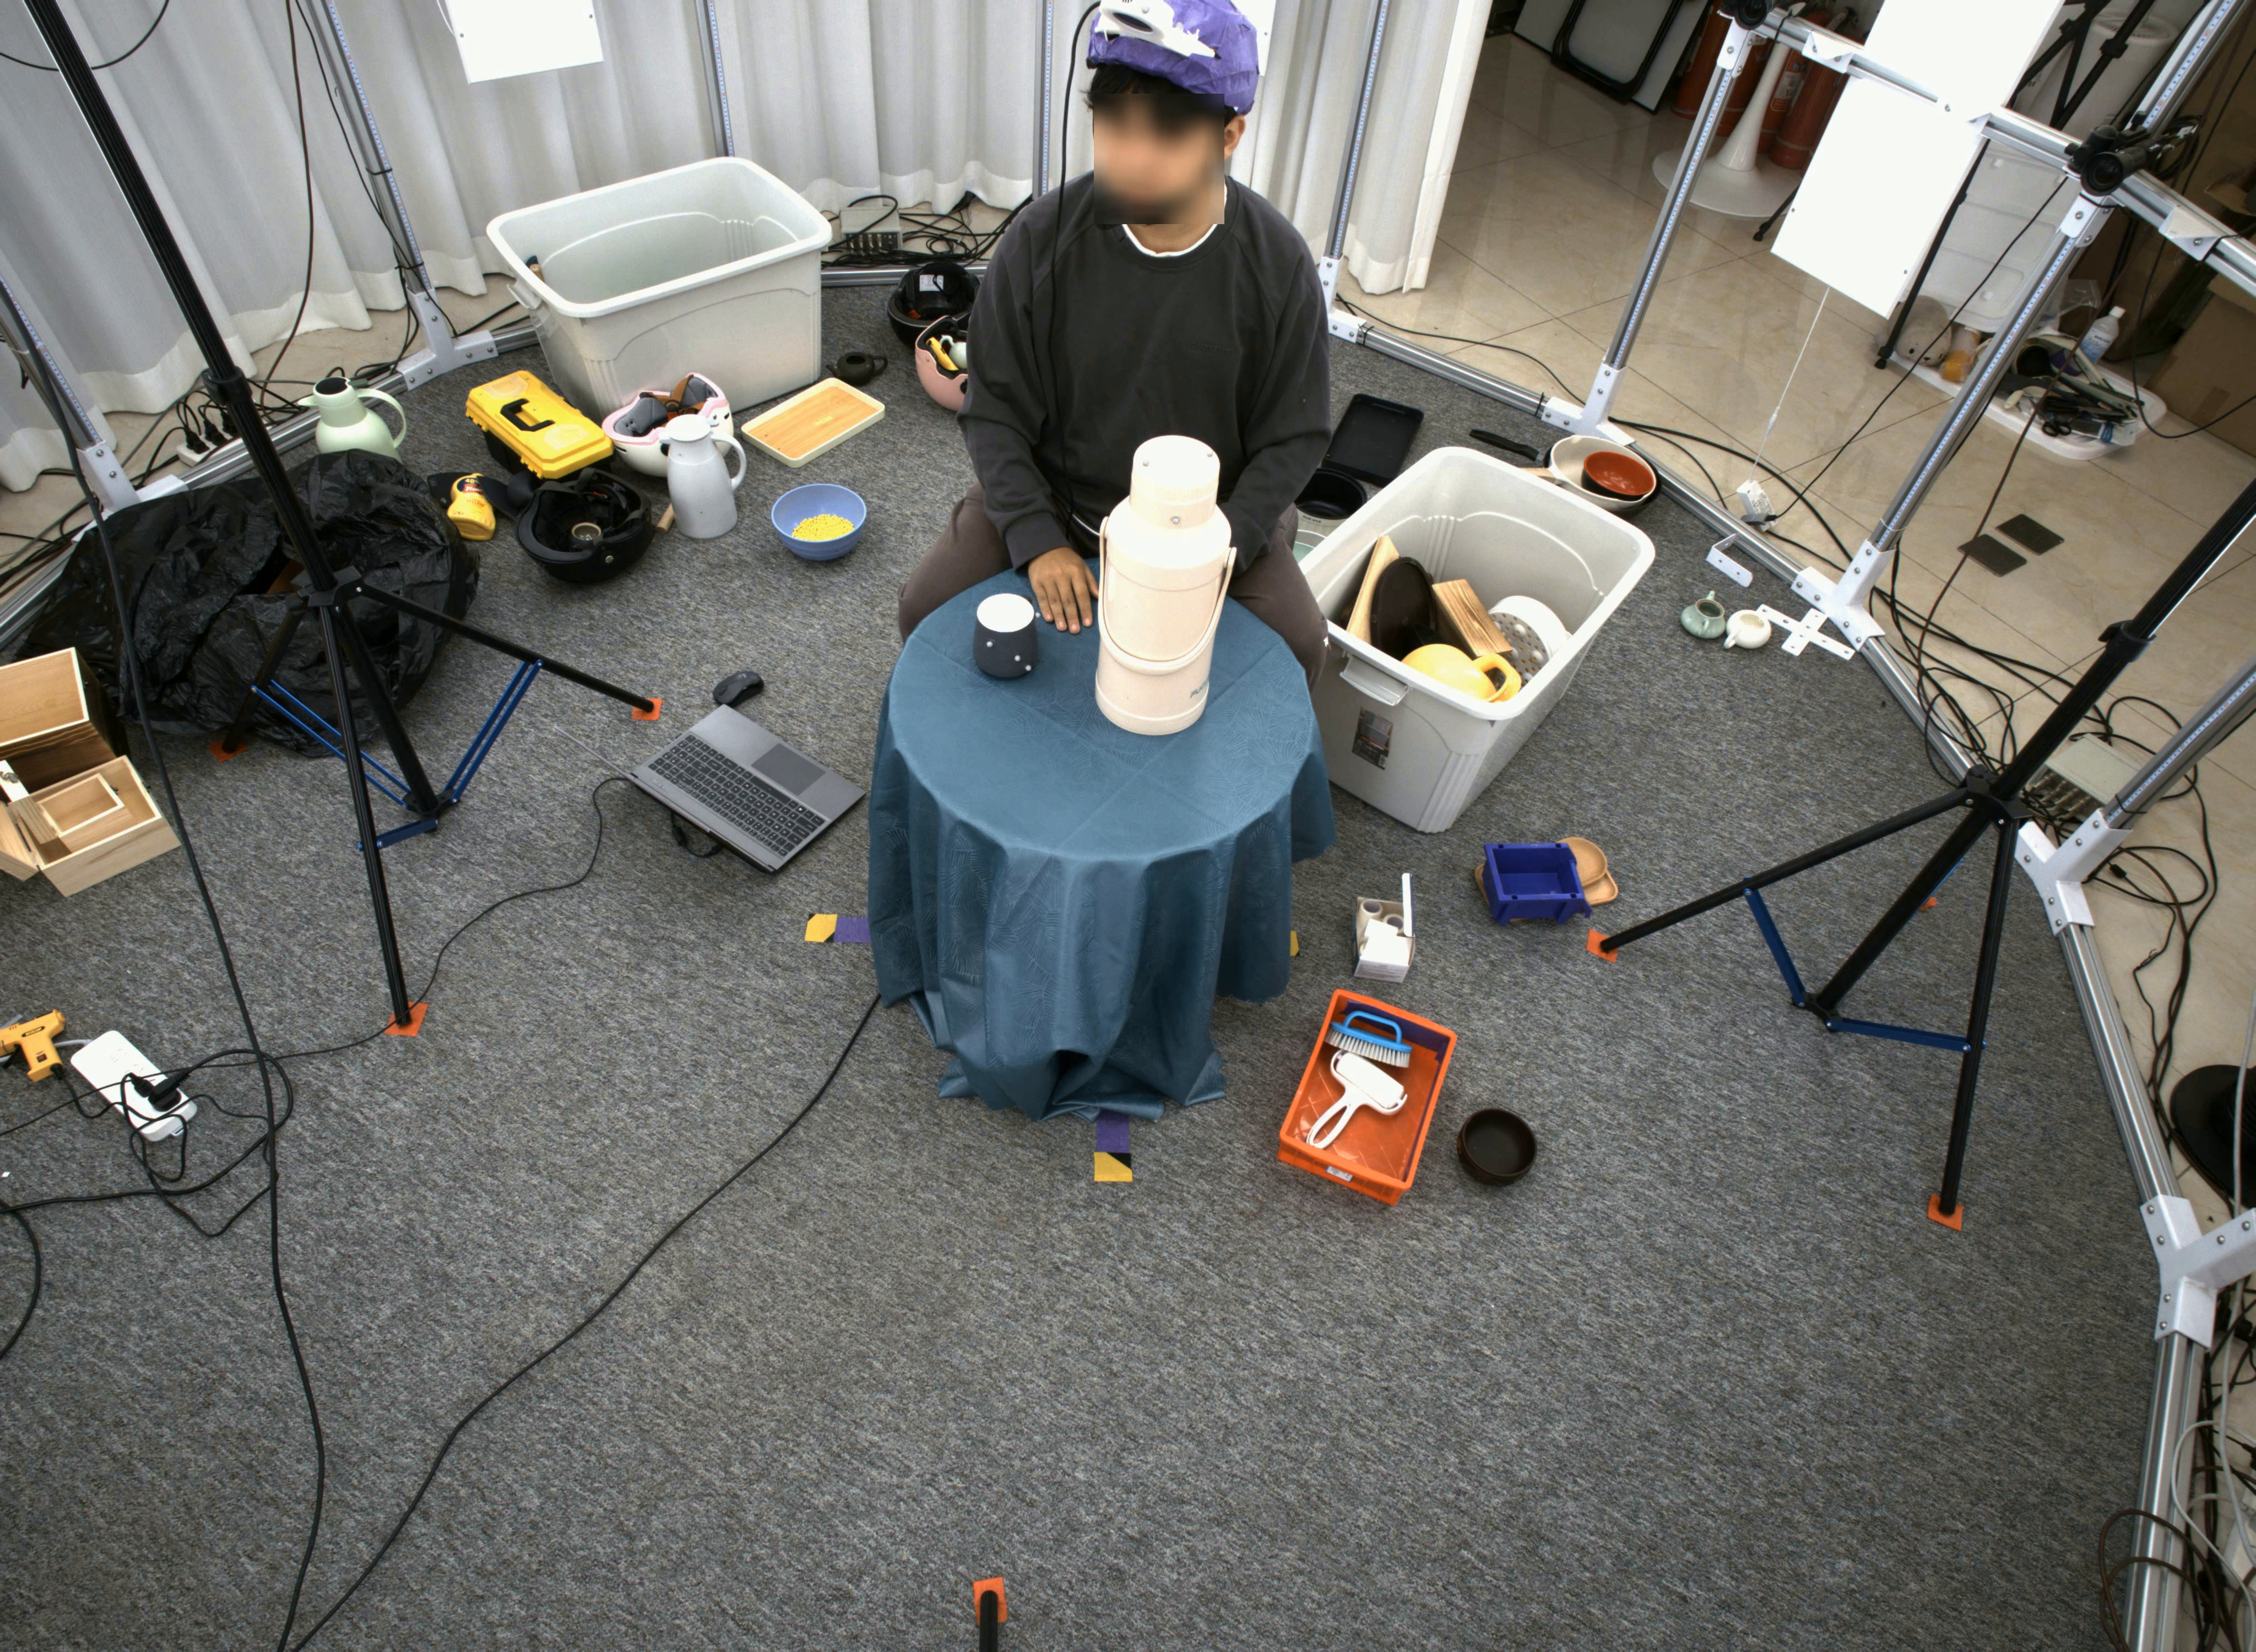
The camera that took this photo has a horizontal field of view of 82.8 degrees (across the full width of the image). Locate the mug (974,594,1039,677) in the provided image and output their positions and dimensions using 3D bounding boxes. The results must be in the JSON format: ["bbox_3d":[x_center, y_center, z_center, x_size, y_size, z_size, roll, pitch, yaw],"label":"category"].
[{"bbox_3d":[-0.166,-0.280,1.837,0.094,0.088,0.125,21,51,13],"label":"mug"}]

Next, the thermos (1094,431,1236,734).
[{"bbox_3d":[0.049,-0.323,1.694,0.176,0.396,0.211,15,50,8],"label":"thermos"}]
